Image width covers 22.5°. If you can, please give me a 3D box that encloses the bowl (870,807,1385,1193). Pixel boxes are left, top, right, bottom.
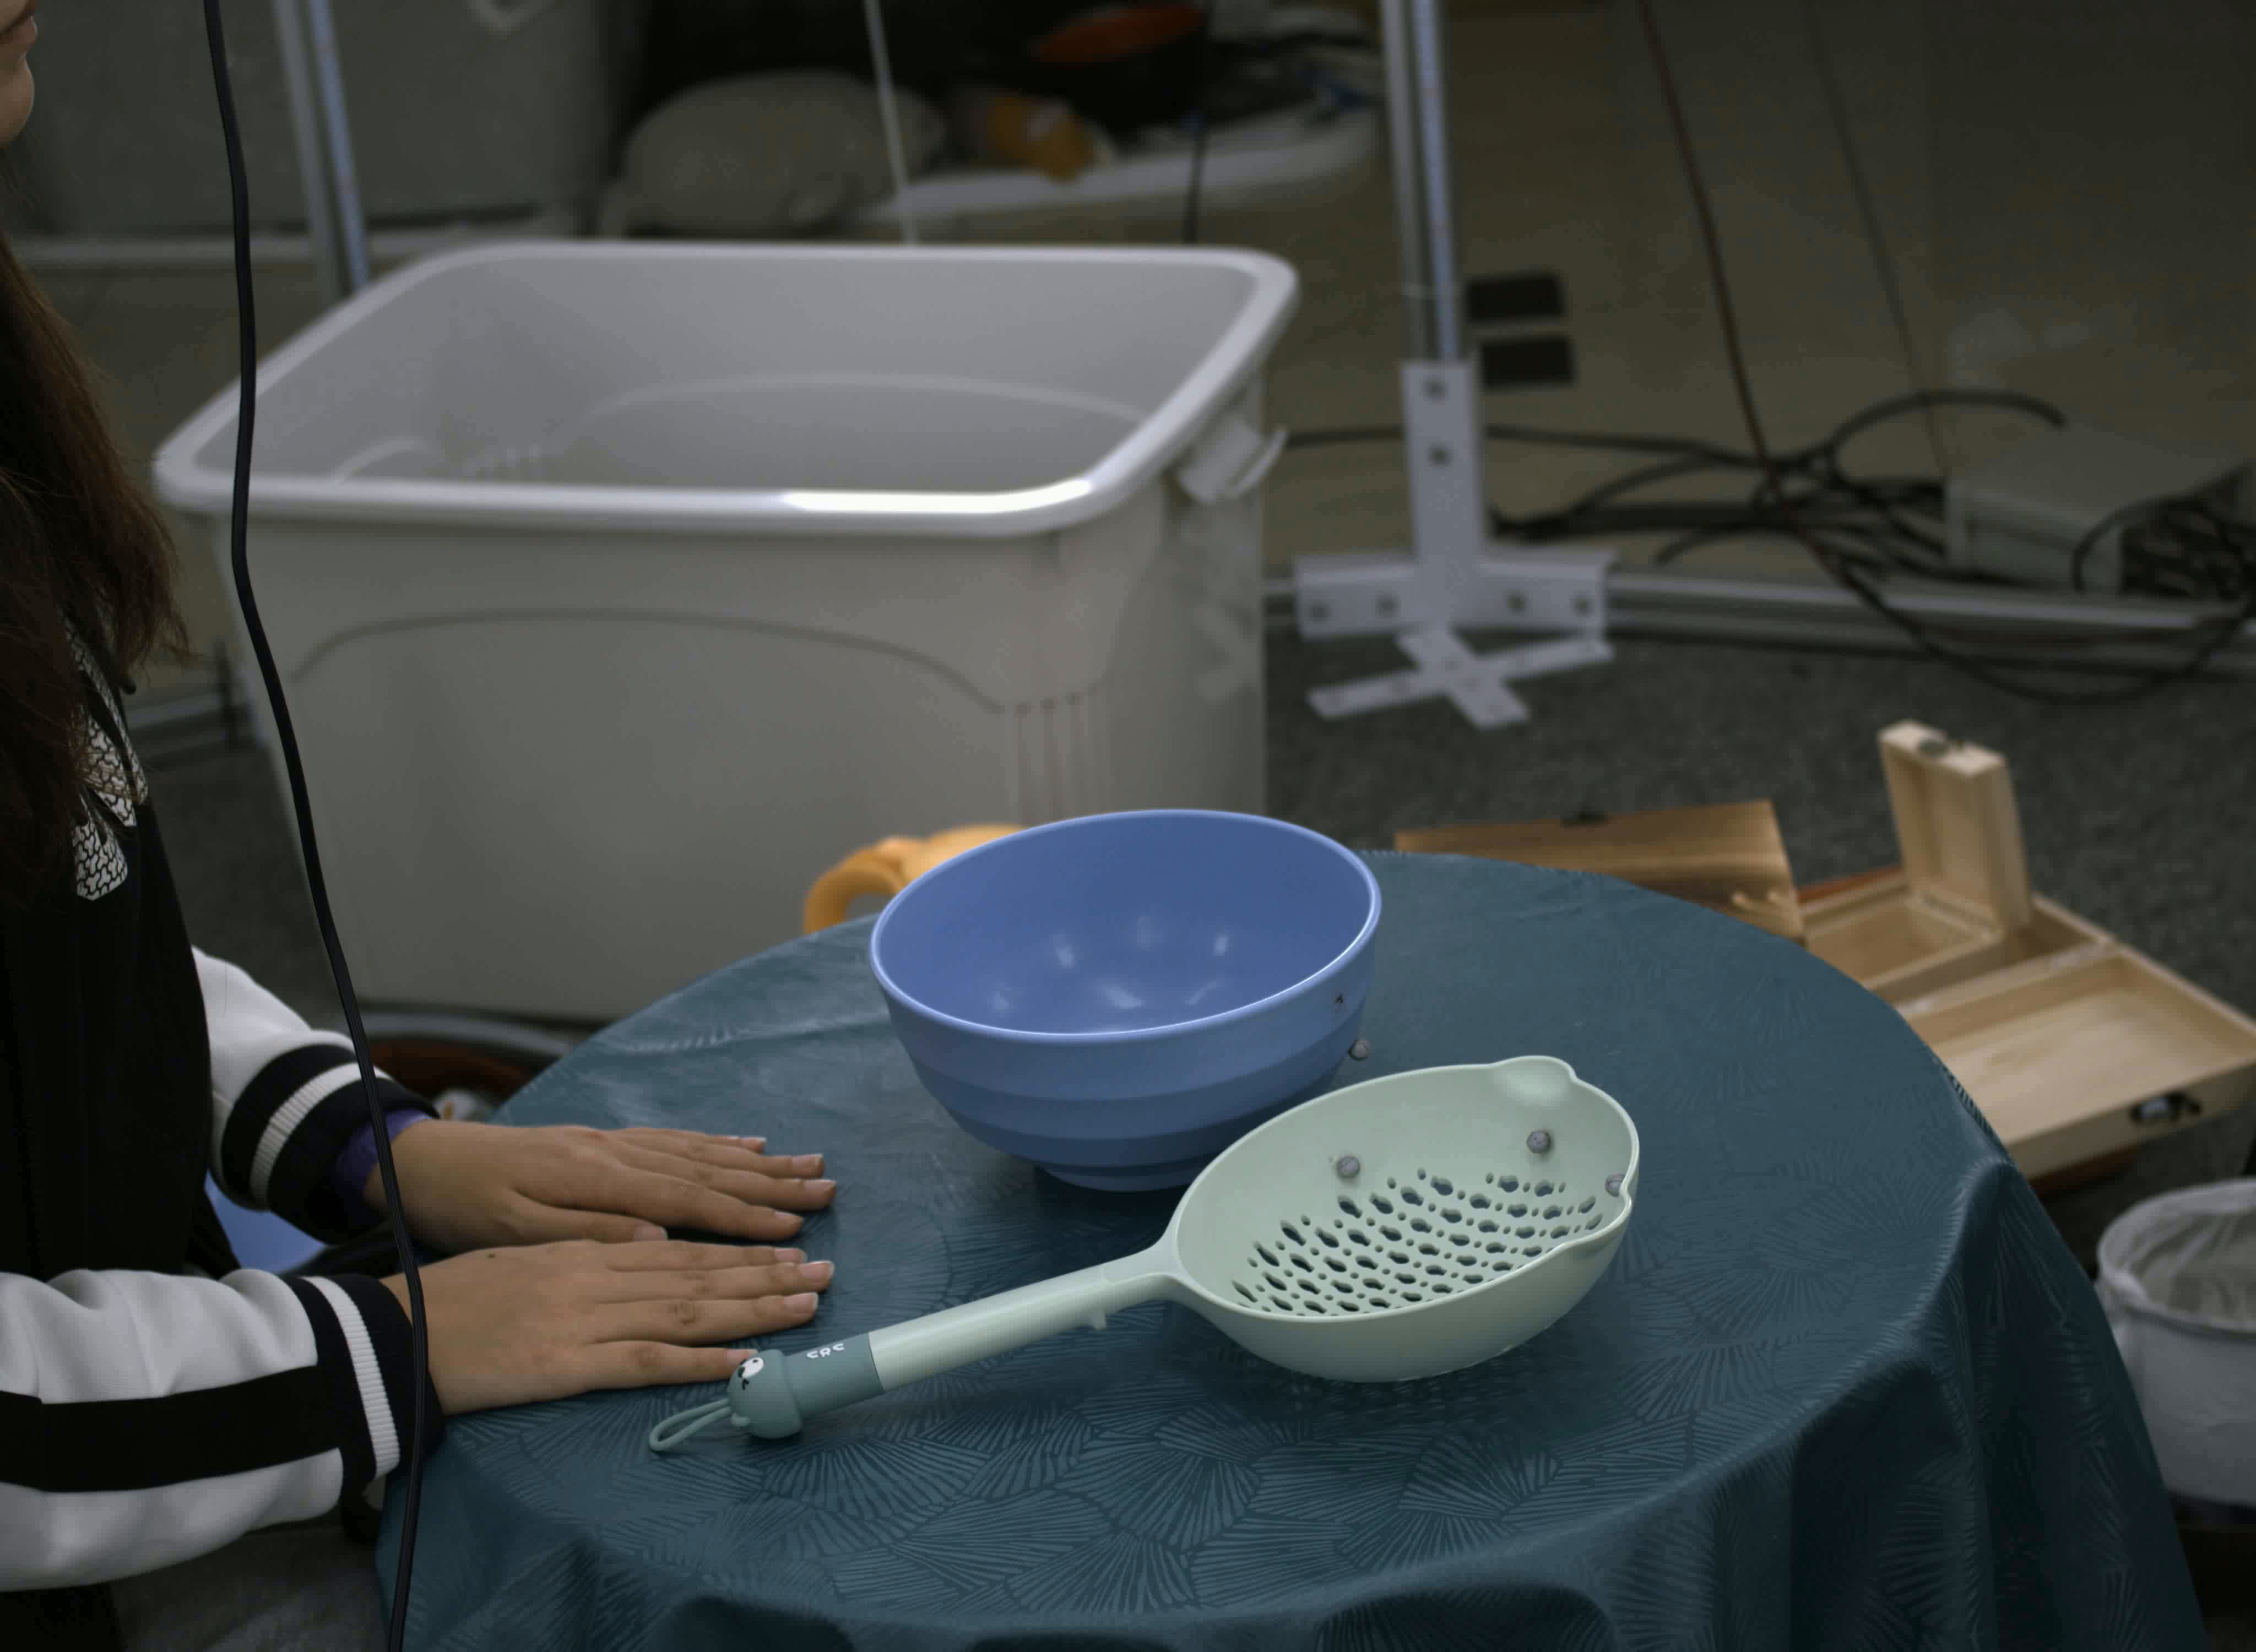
[{"bbox_3d":[0.004,0.077,2.166,0.196,0.097,0.193,-5,26,3],"label":"bowl"}]

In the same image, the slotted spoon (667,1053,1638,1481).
[{"bbox_3d":[0.007,0.168,2.015,0.358,0.076,0.167,-10,24,-3],"label":"slotted spoon"}]
